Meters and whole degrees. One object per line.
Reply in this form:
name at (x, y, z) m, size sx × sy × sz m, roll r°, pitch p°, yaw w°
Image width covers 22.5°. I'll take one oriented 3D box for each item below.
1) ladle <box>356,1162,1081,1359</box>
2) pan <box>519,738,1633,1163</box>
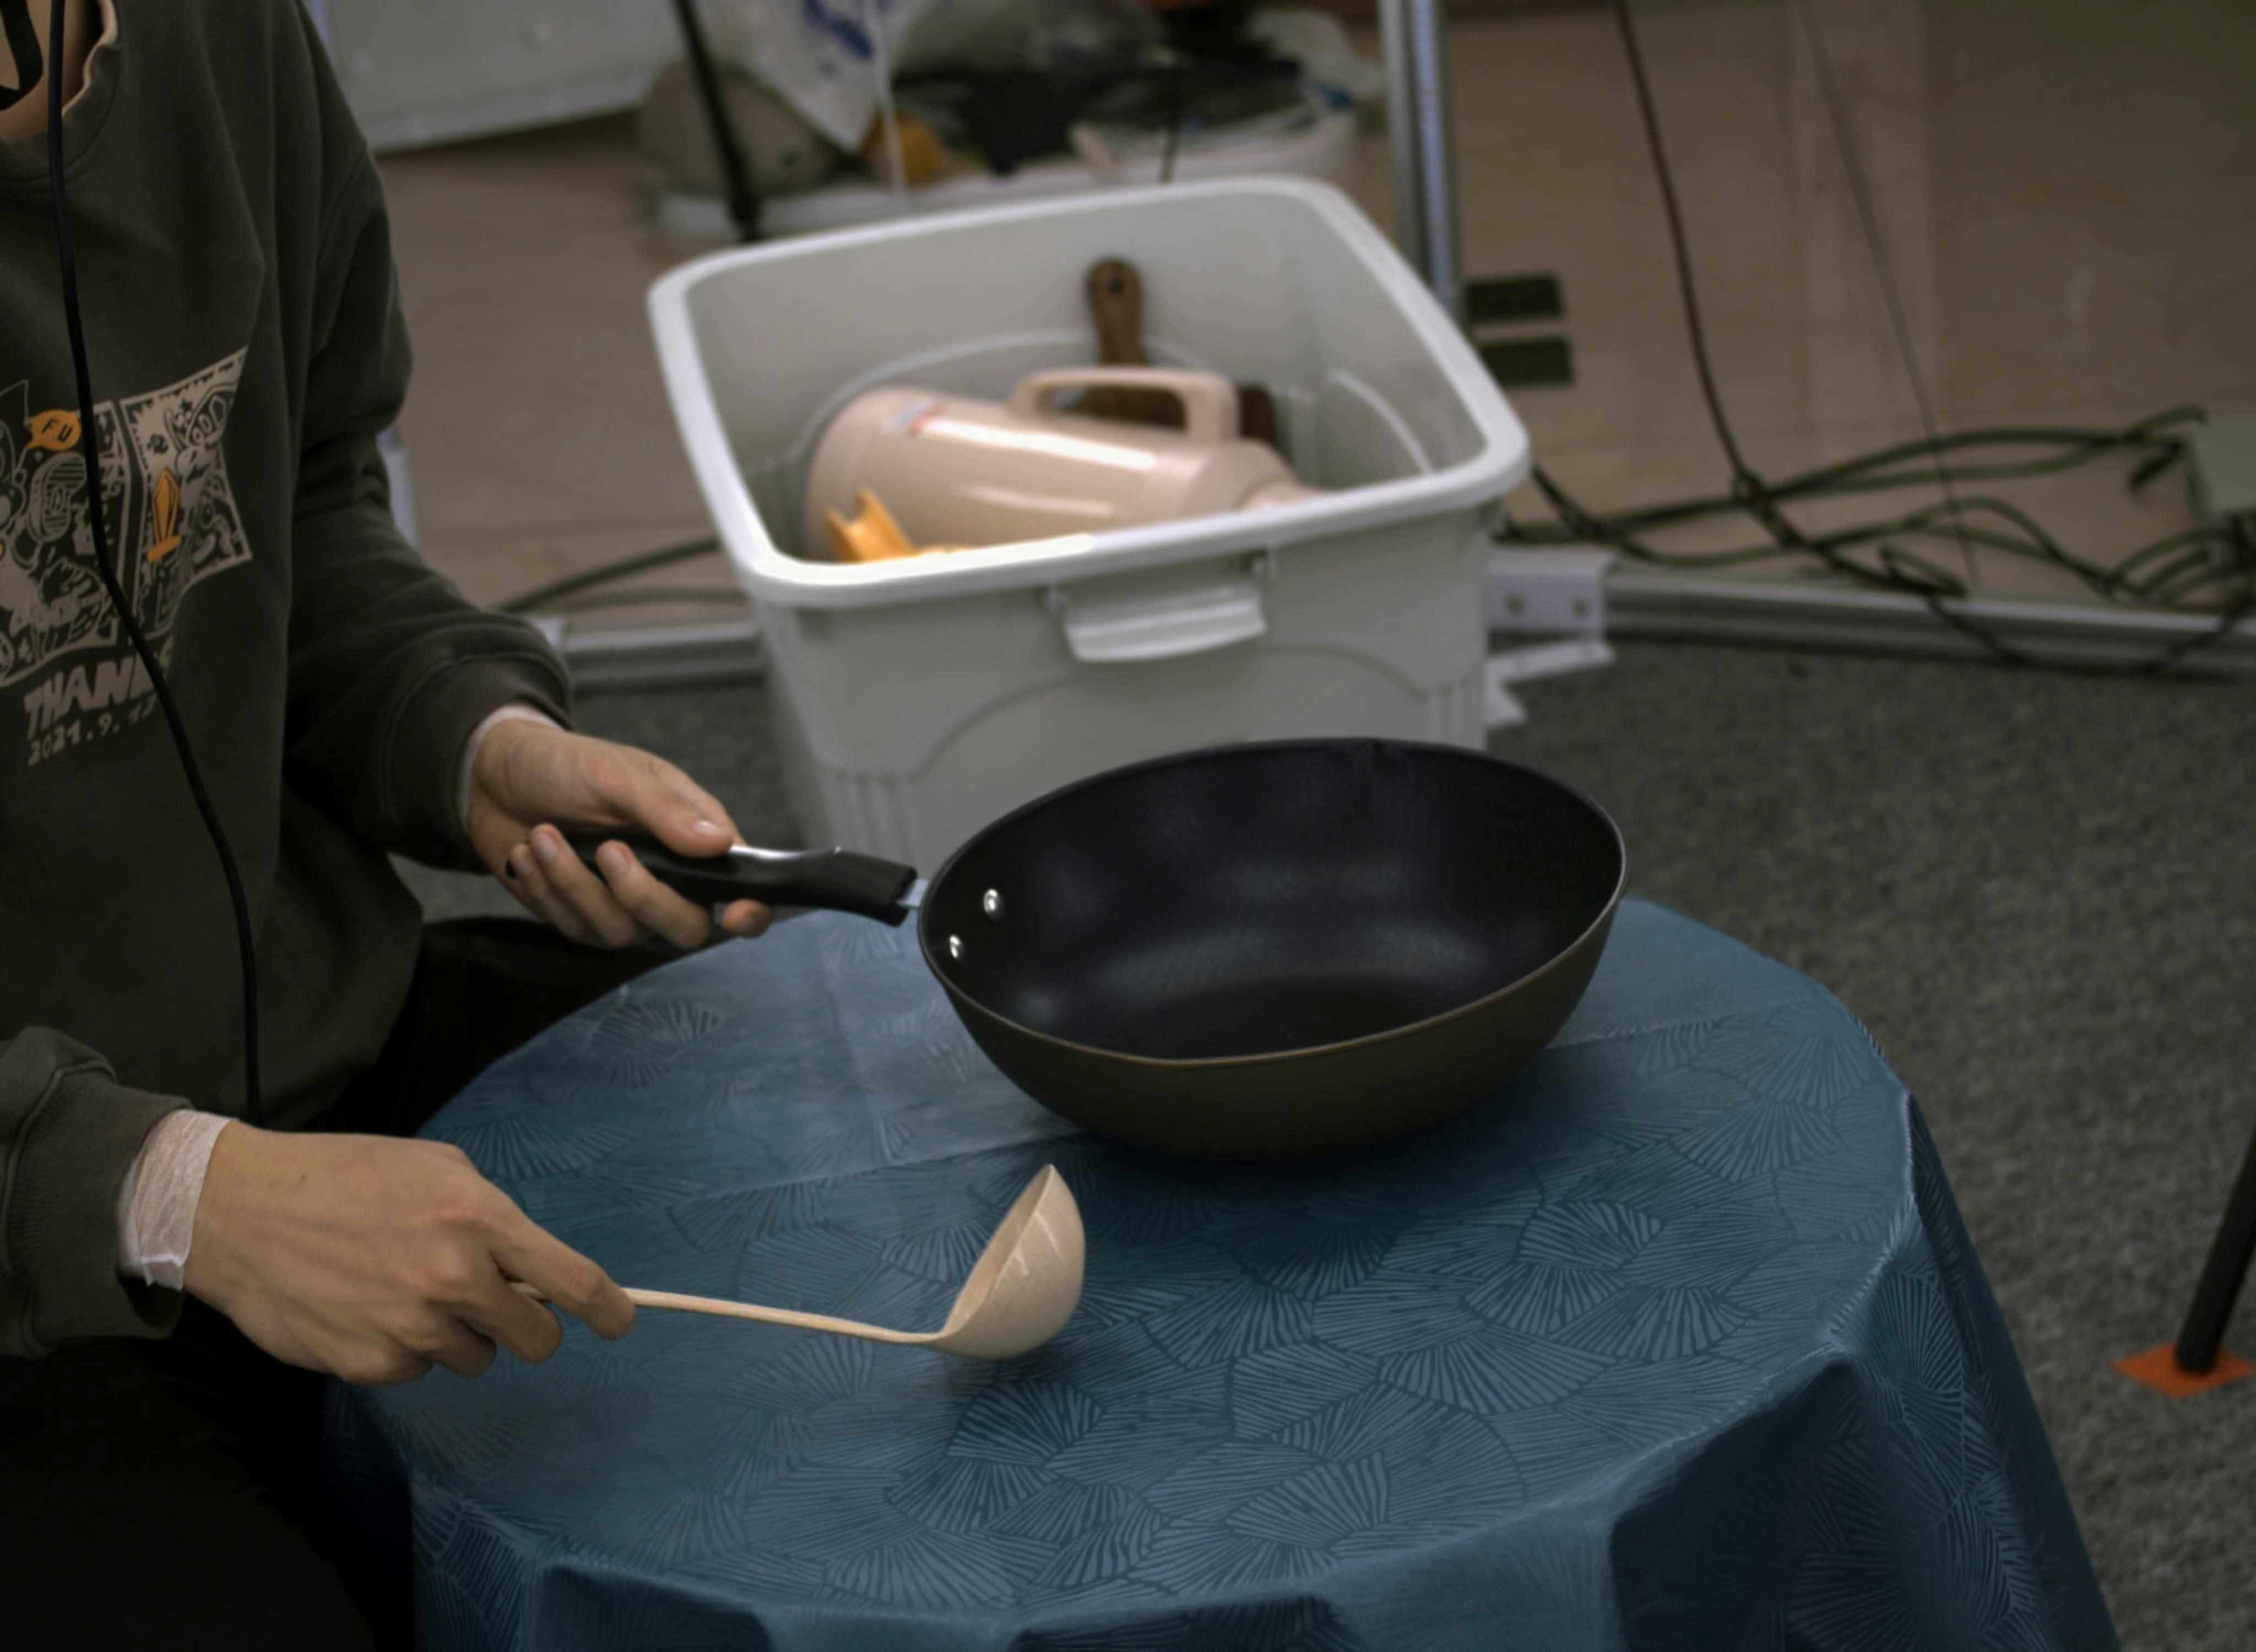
ladle at (-0.143, 0.144, 2.003) m, size 0.254 × 0.073 × 0.072 m, roll 6°, pitch -5°, yaw -14°
pan at (-0.026, 0.054, 2.234) m, size 0.462 × 0.088 × 0.284 m, roll 2°, pitch 26°, yaw 20°
